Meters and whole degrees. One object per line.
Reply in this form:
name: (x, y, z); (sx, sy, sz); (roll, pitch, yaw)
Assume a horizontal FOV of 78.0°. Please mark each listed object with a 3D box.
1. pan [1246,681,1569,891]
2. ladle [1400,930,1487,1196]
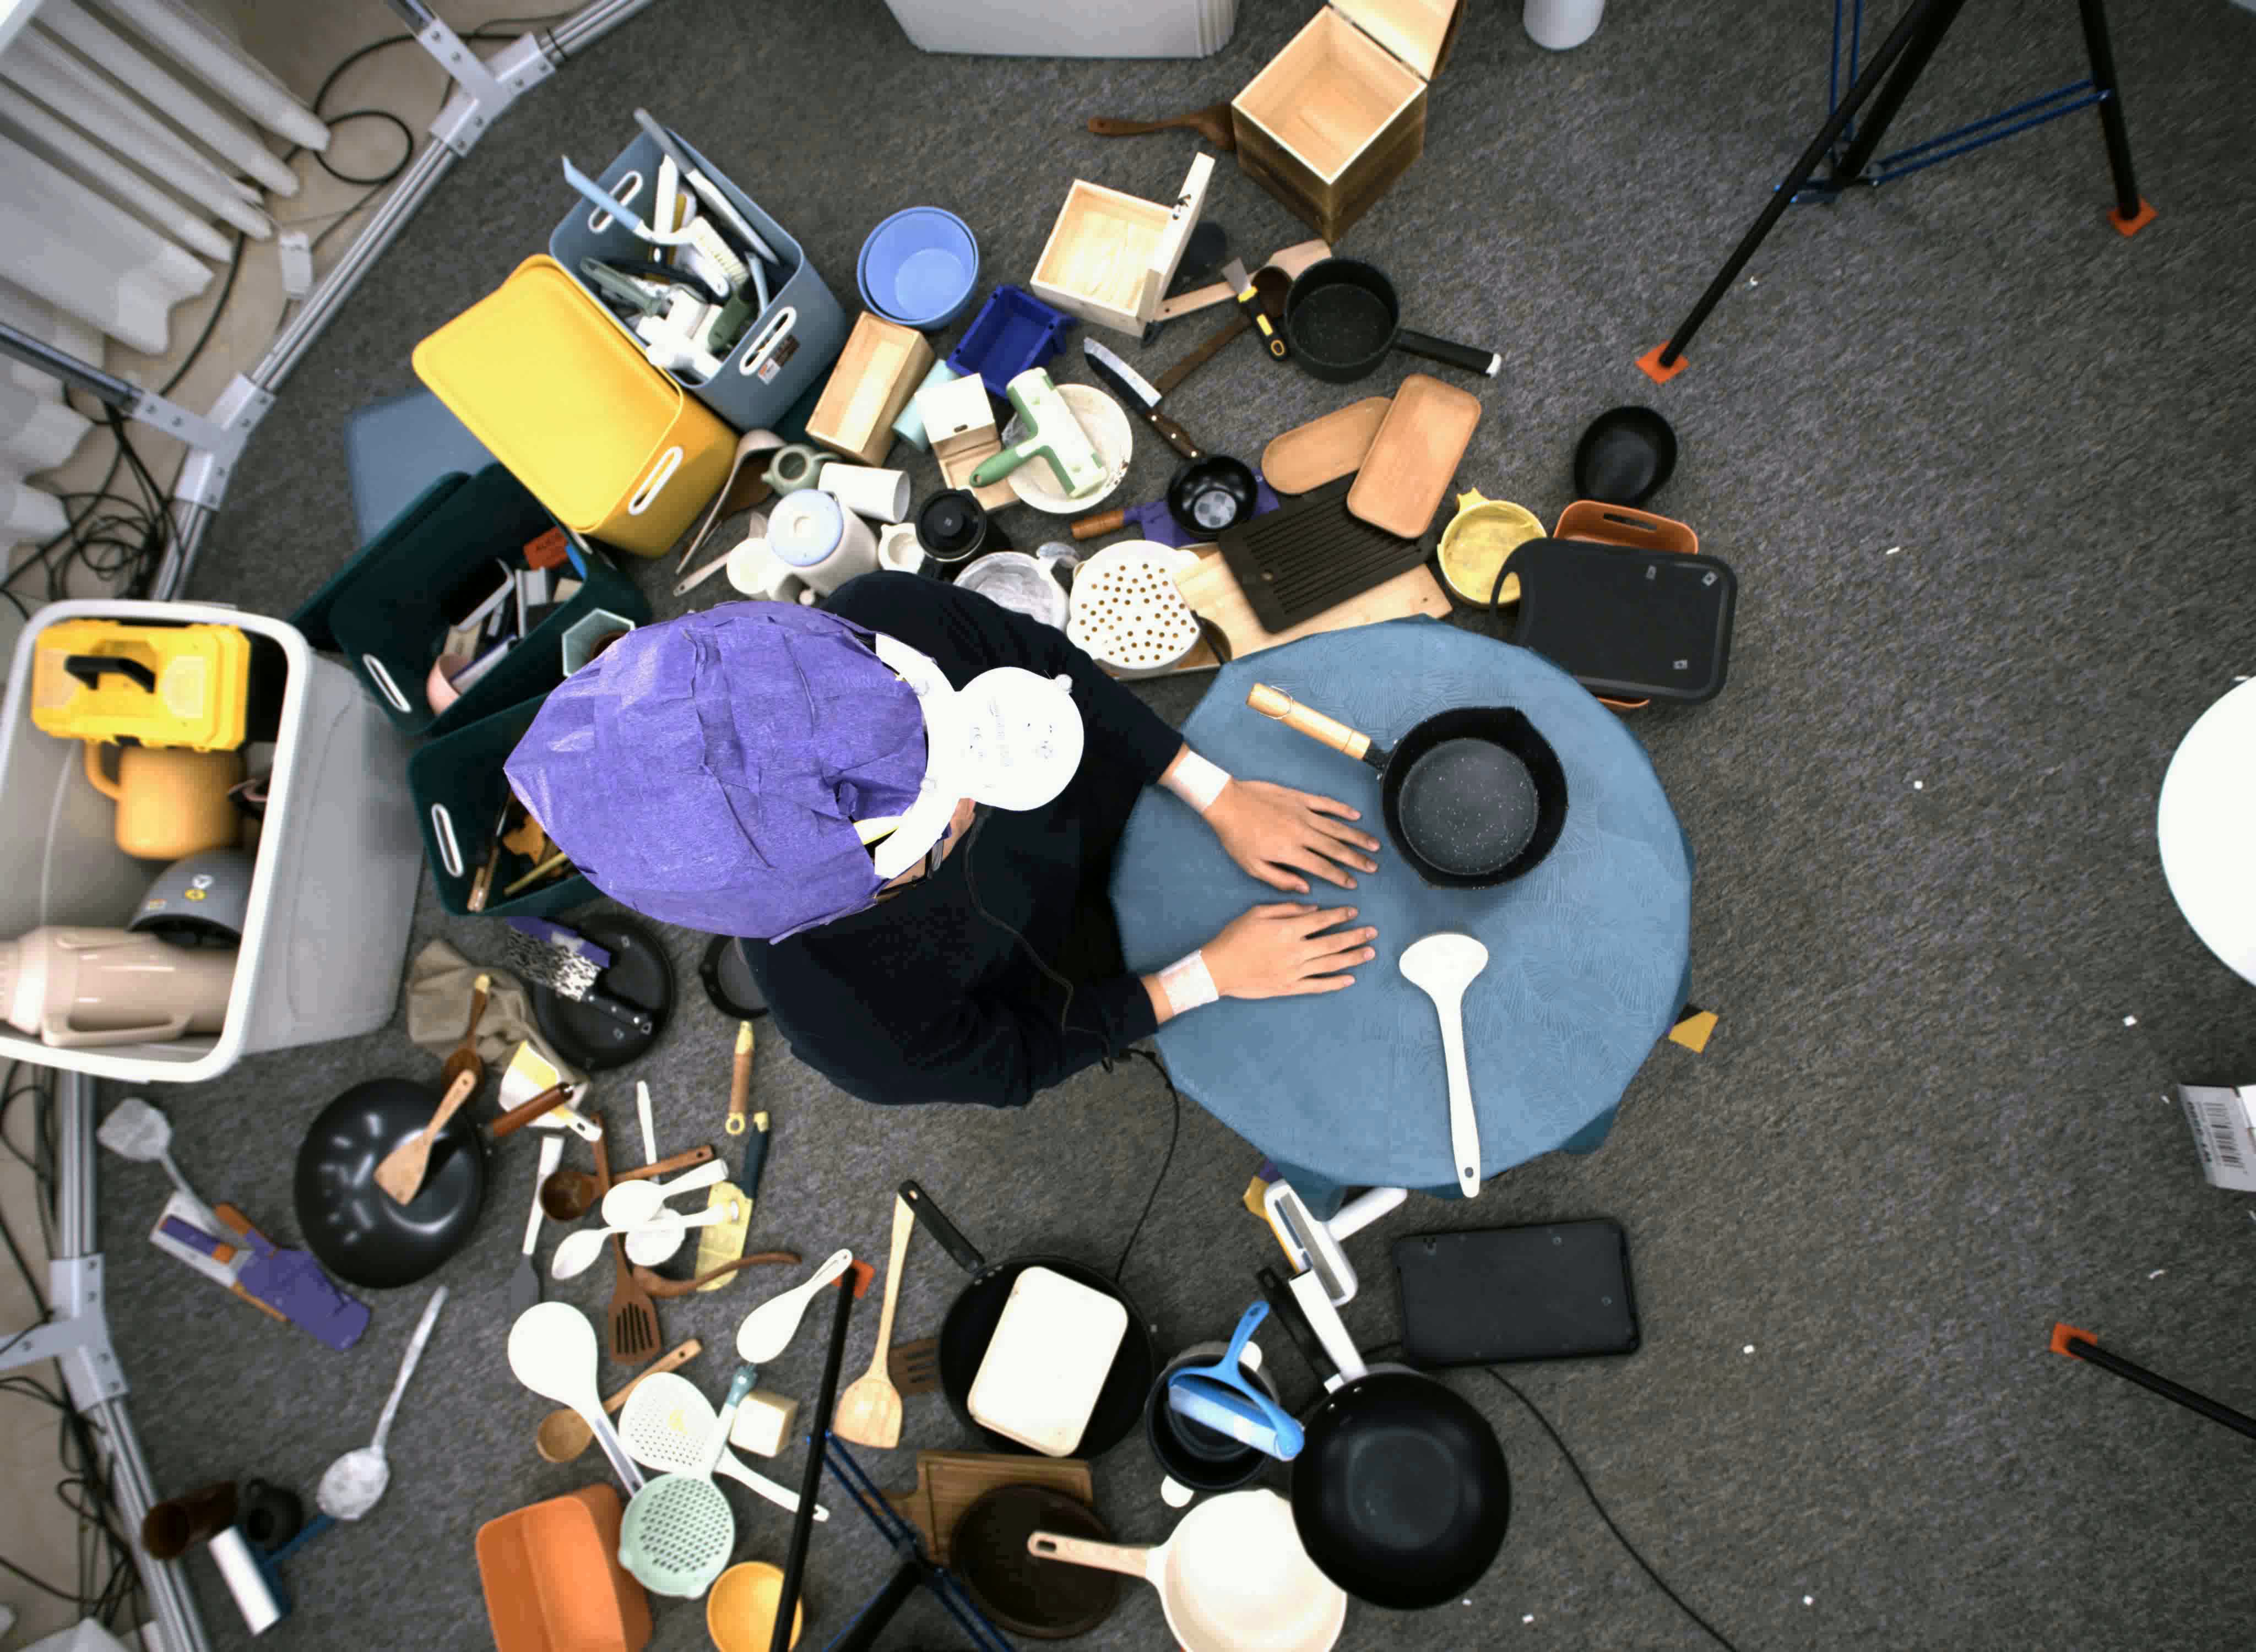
pan: (0.278, -0.060, 1.411); (0.342, 0.108, 0.208); (25, 92, 10)
ladle: (0.337, 0.241, 1.405); (0.089, 0.069, 0.273); (-8, 86, 4)
